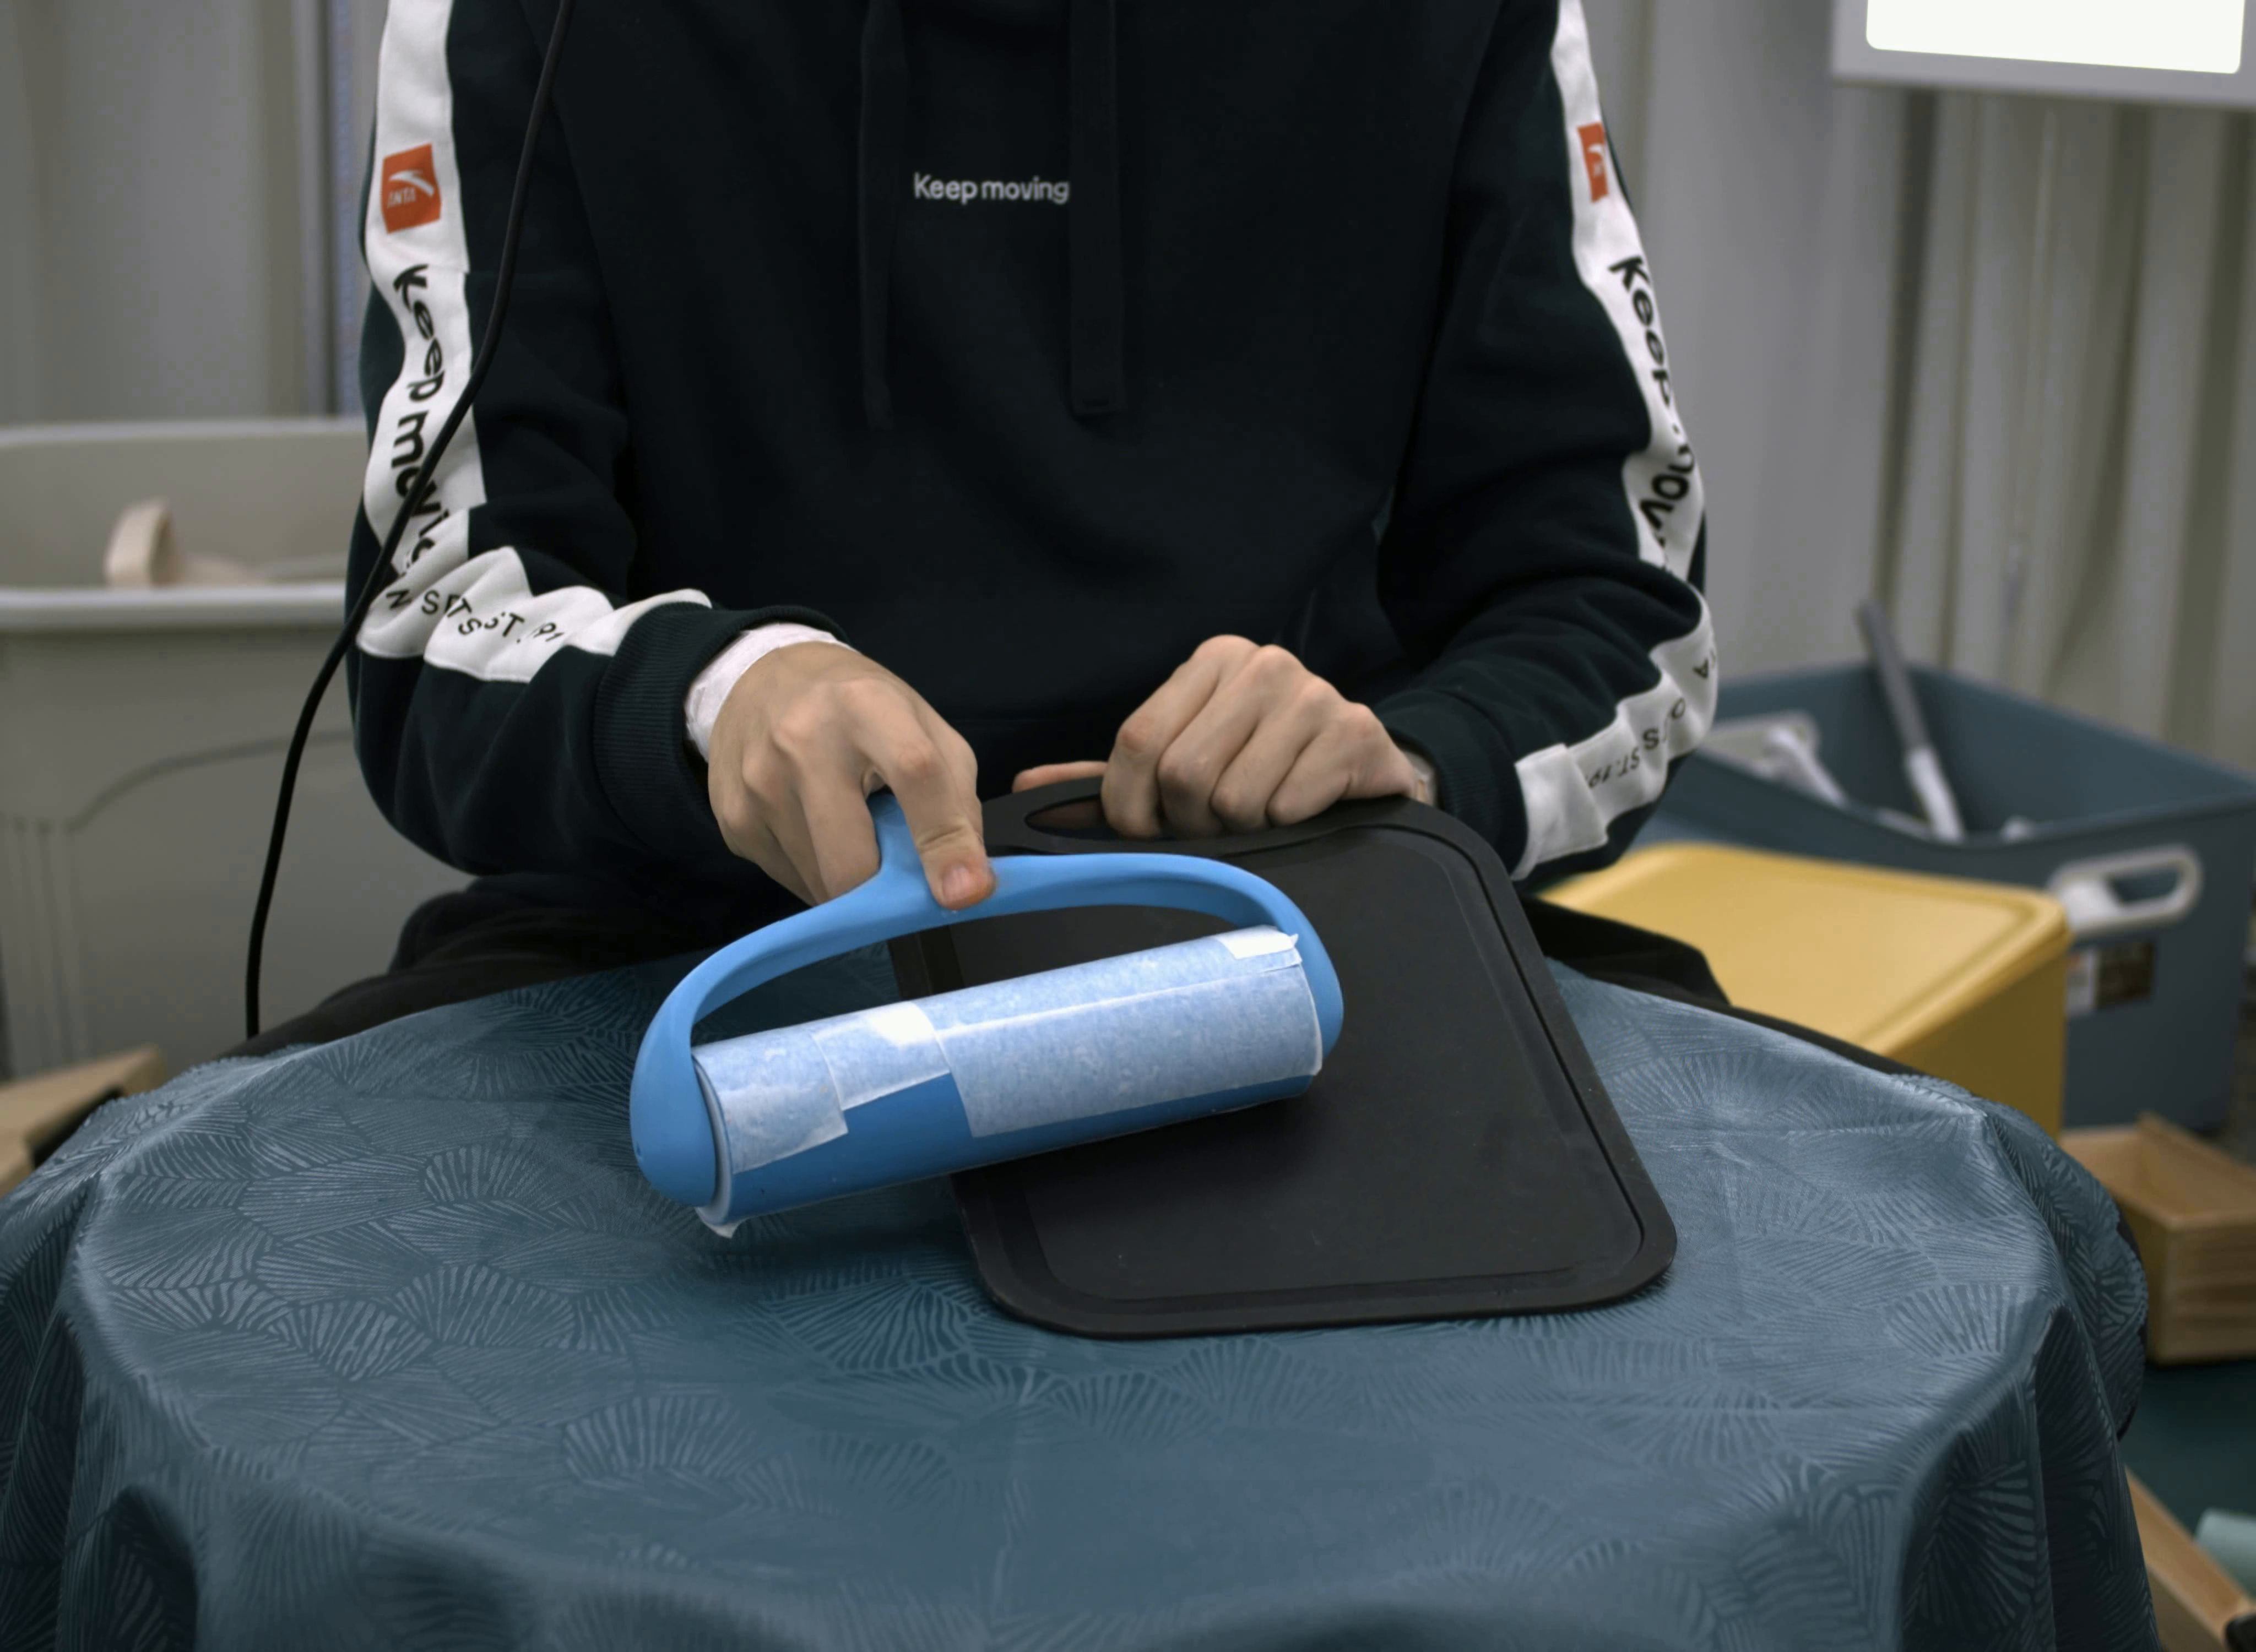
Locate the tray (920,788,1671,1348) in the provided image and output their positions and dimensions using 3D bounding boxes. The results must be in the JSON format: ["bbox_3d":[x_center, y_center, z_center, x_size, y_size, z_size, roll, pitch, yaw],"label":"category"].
[{"bbox_3d":[0.037,0.066,1.646,0.211,0.010,0.322,-3,30,-10],"label":"tray"}]

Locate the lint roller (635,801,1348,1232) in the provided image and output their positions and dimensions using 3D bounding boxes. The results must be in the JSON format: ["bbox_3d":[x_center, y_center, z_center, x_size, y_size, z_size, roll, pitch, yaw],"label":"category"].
[{"bbox_3d":[-0.064,0.036,1.616,0.229,0.068,0.178,-15,47,-23],"label":"lint roller"}]
